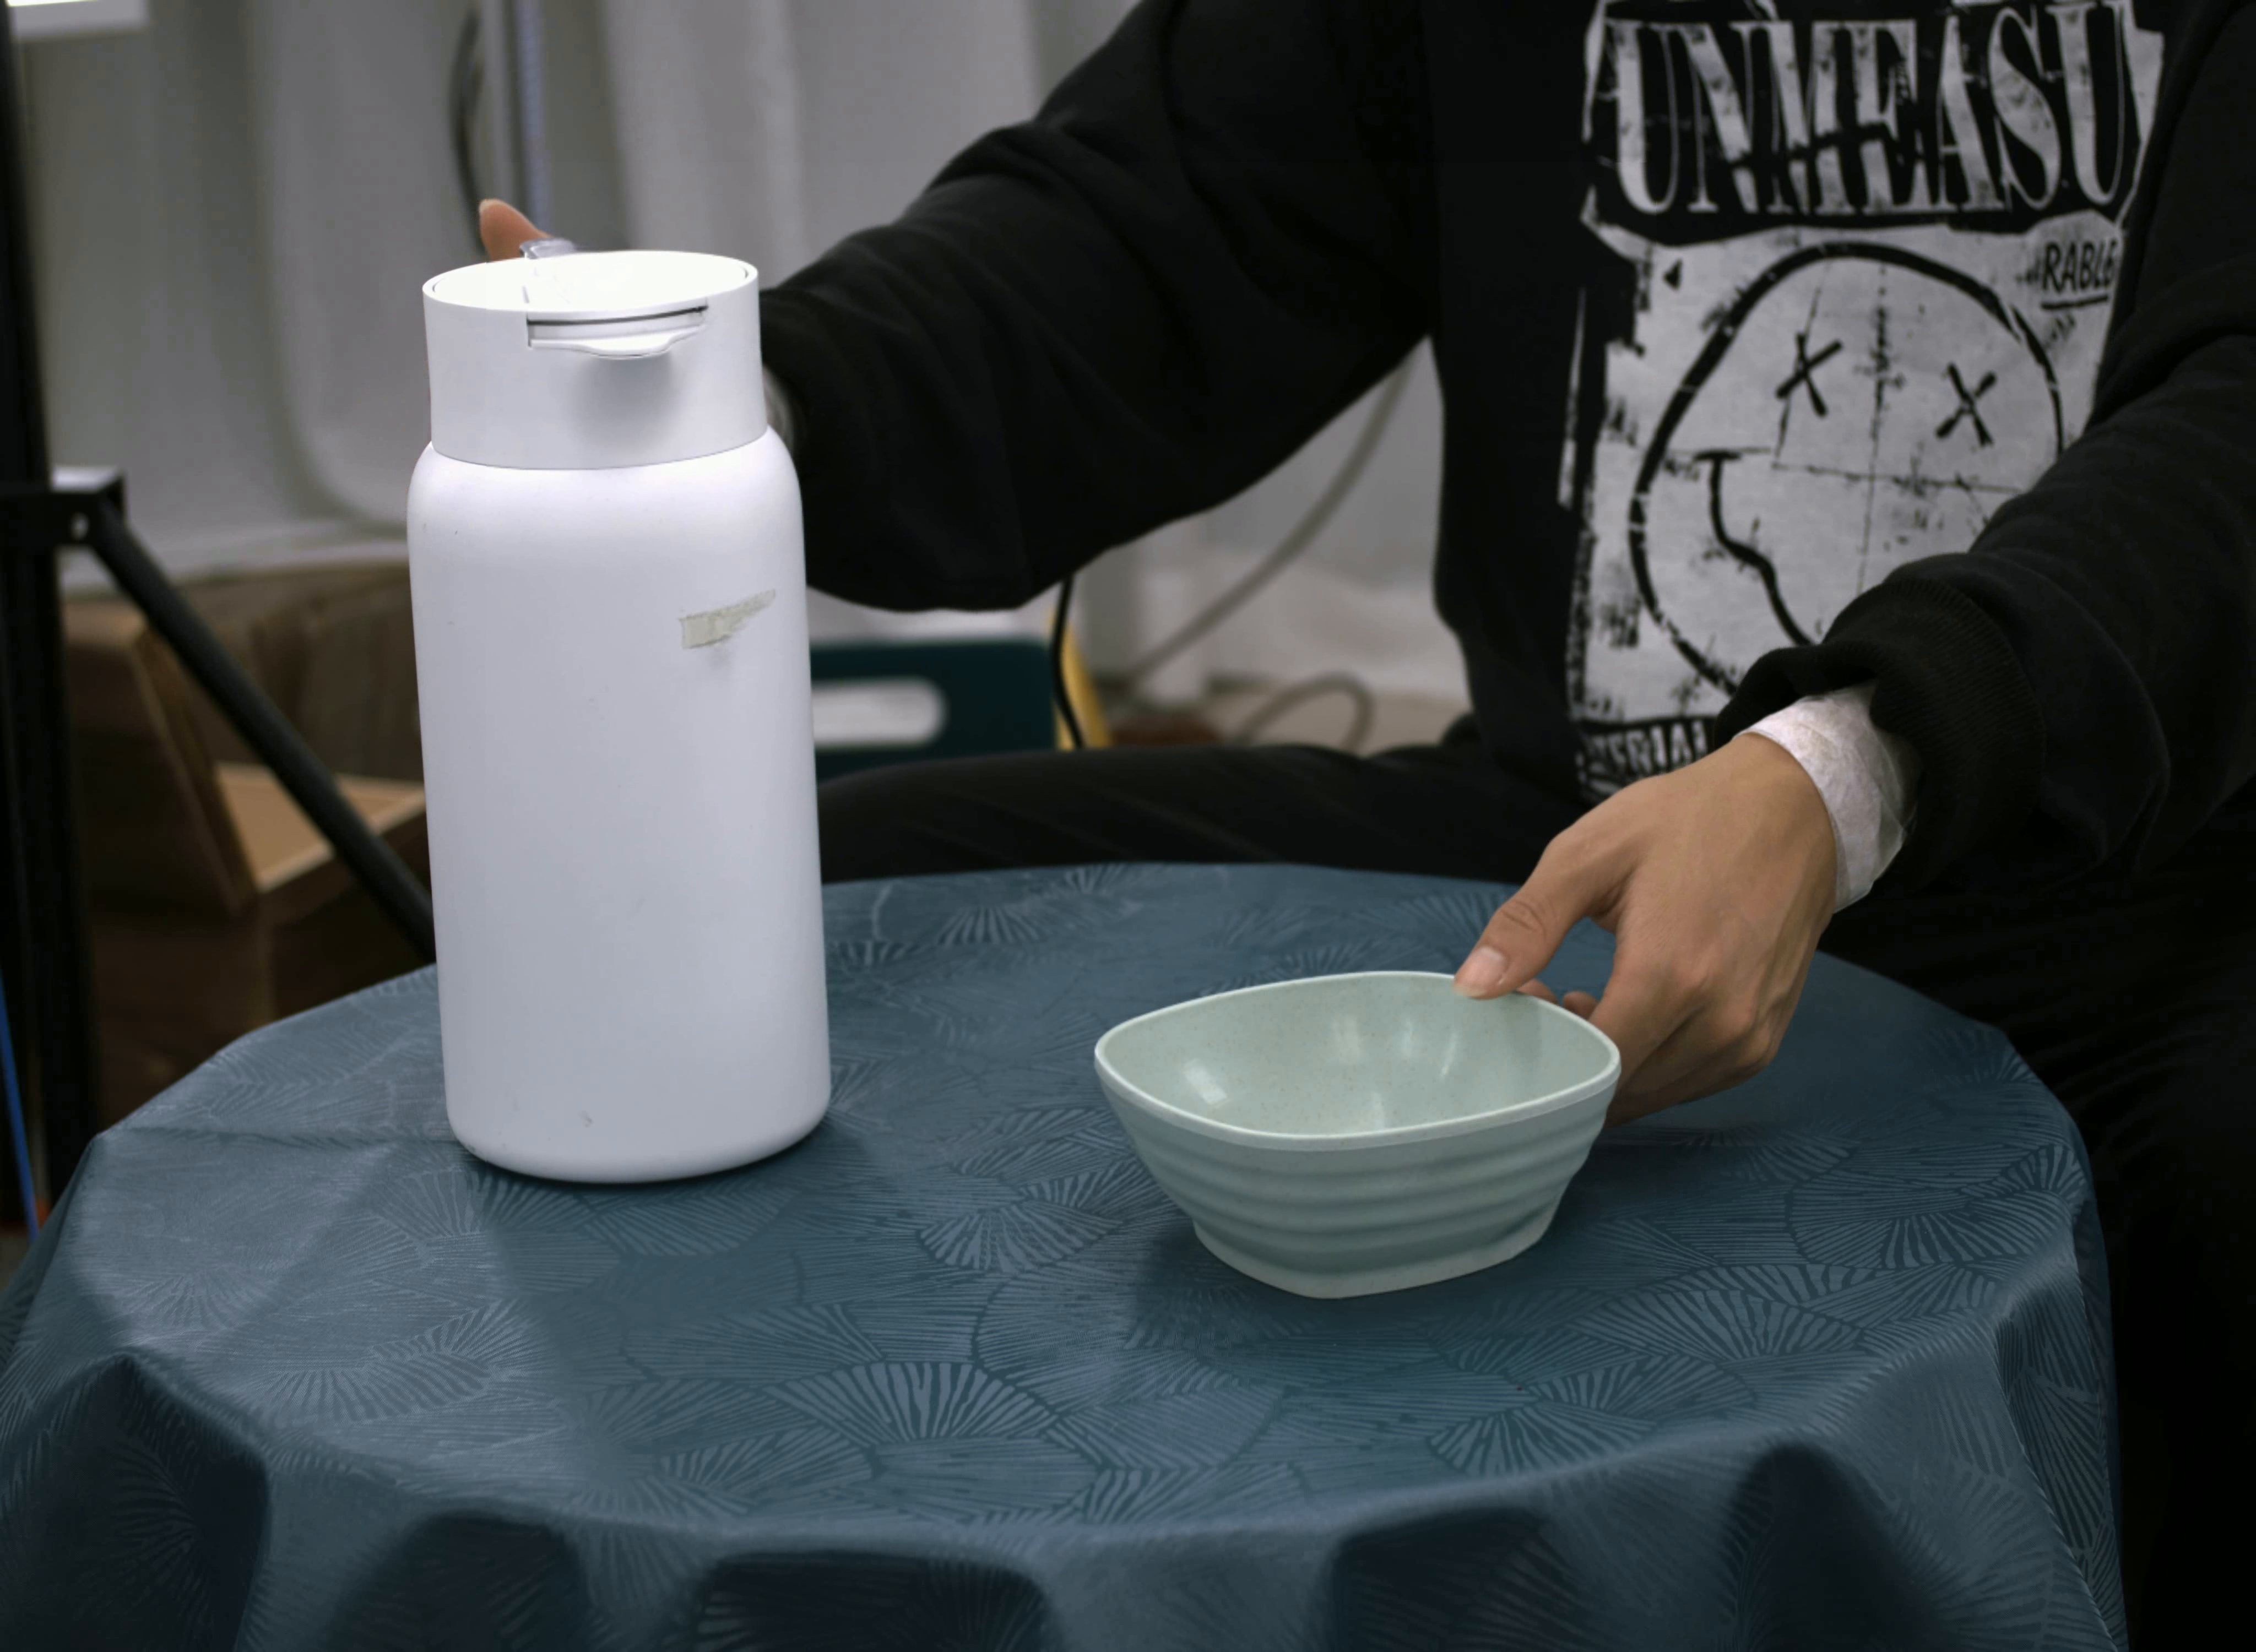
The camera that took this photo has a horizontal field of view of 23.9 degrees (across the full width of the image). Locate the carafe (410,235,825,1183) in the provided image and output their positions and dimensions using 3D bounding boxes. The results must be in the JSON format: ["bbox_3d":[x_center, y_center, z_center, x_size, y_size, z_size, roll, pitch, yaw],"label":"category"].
[{"bbox_3d":[-0.159,-0.039,1.613,0.122,0.269,0.175,-8,16,-15],"label":"carafe"}]

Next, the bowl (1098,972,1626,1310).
[{"bbox_3d":[0.066,0.092,1.500,0.150,0.058,0.152,-3,16,-1],"label":"bowl"}]
